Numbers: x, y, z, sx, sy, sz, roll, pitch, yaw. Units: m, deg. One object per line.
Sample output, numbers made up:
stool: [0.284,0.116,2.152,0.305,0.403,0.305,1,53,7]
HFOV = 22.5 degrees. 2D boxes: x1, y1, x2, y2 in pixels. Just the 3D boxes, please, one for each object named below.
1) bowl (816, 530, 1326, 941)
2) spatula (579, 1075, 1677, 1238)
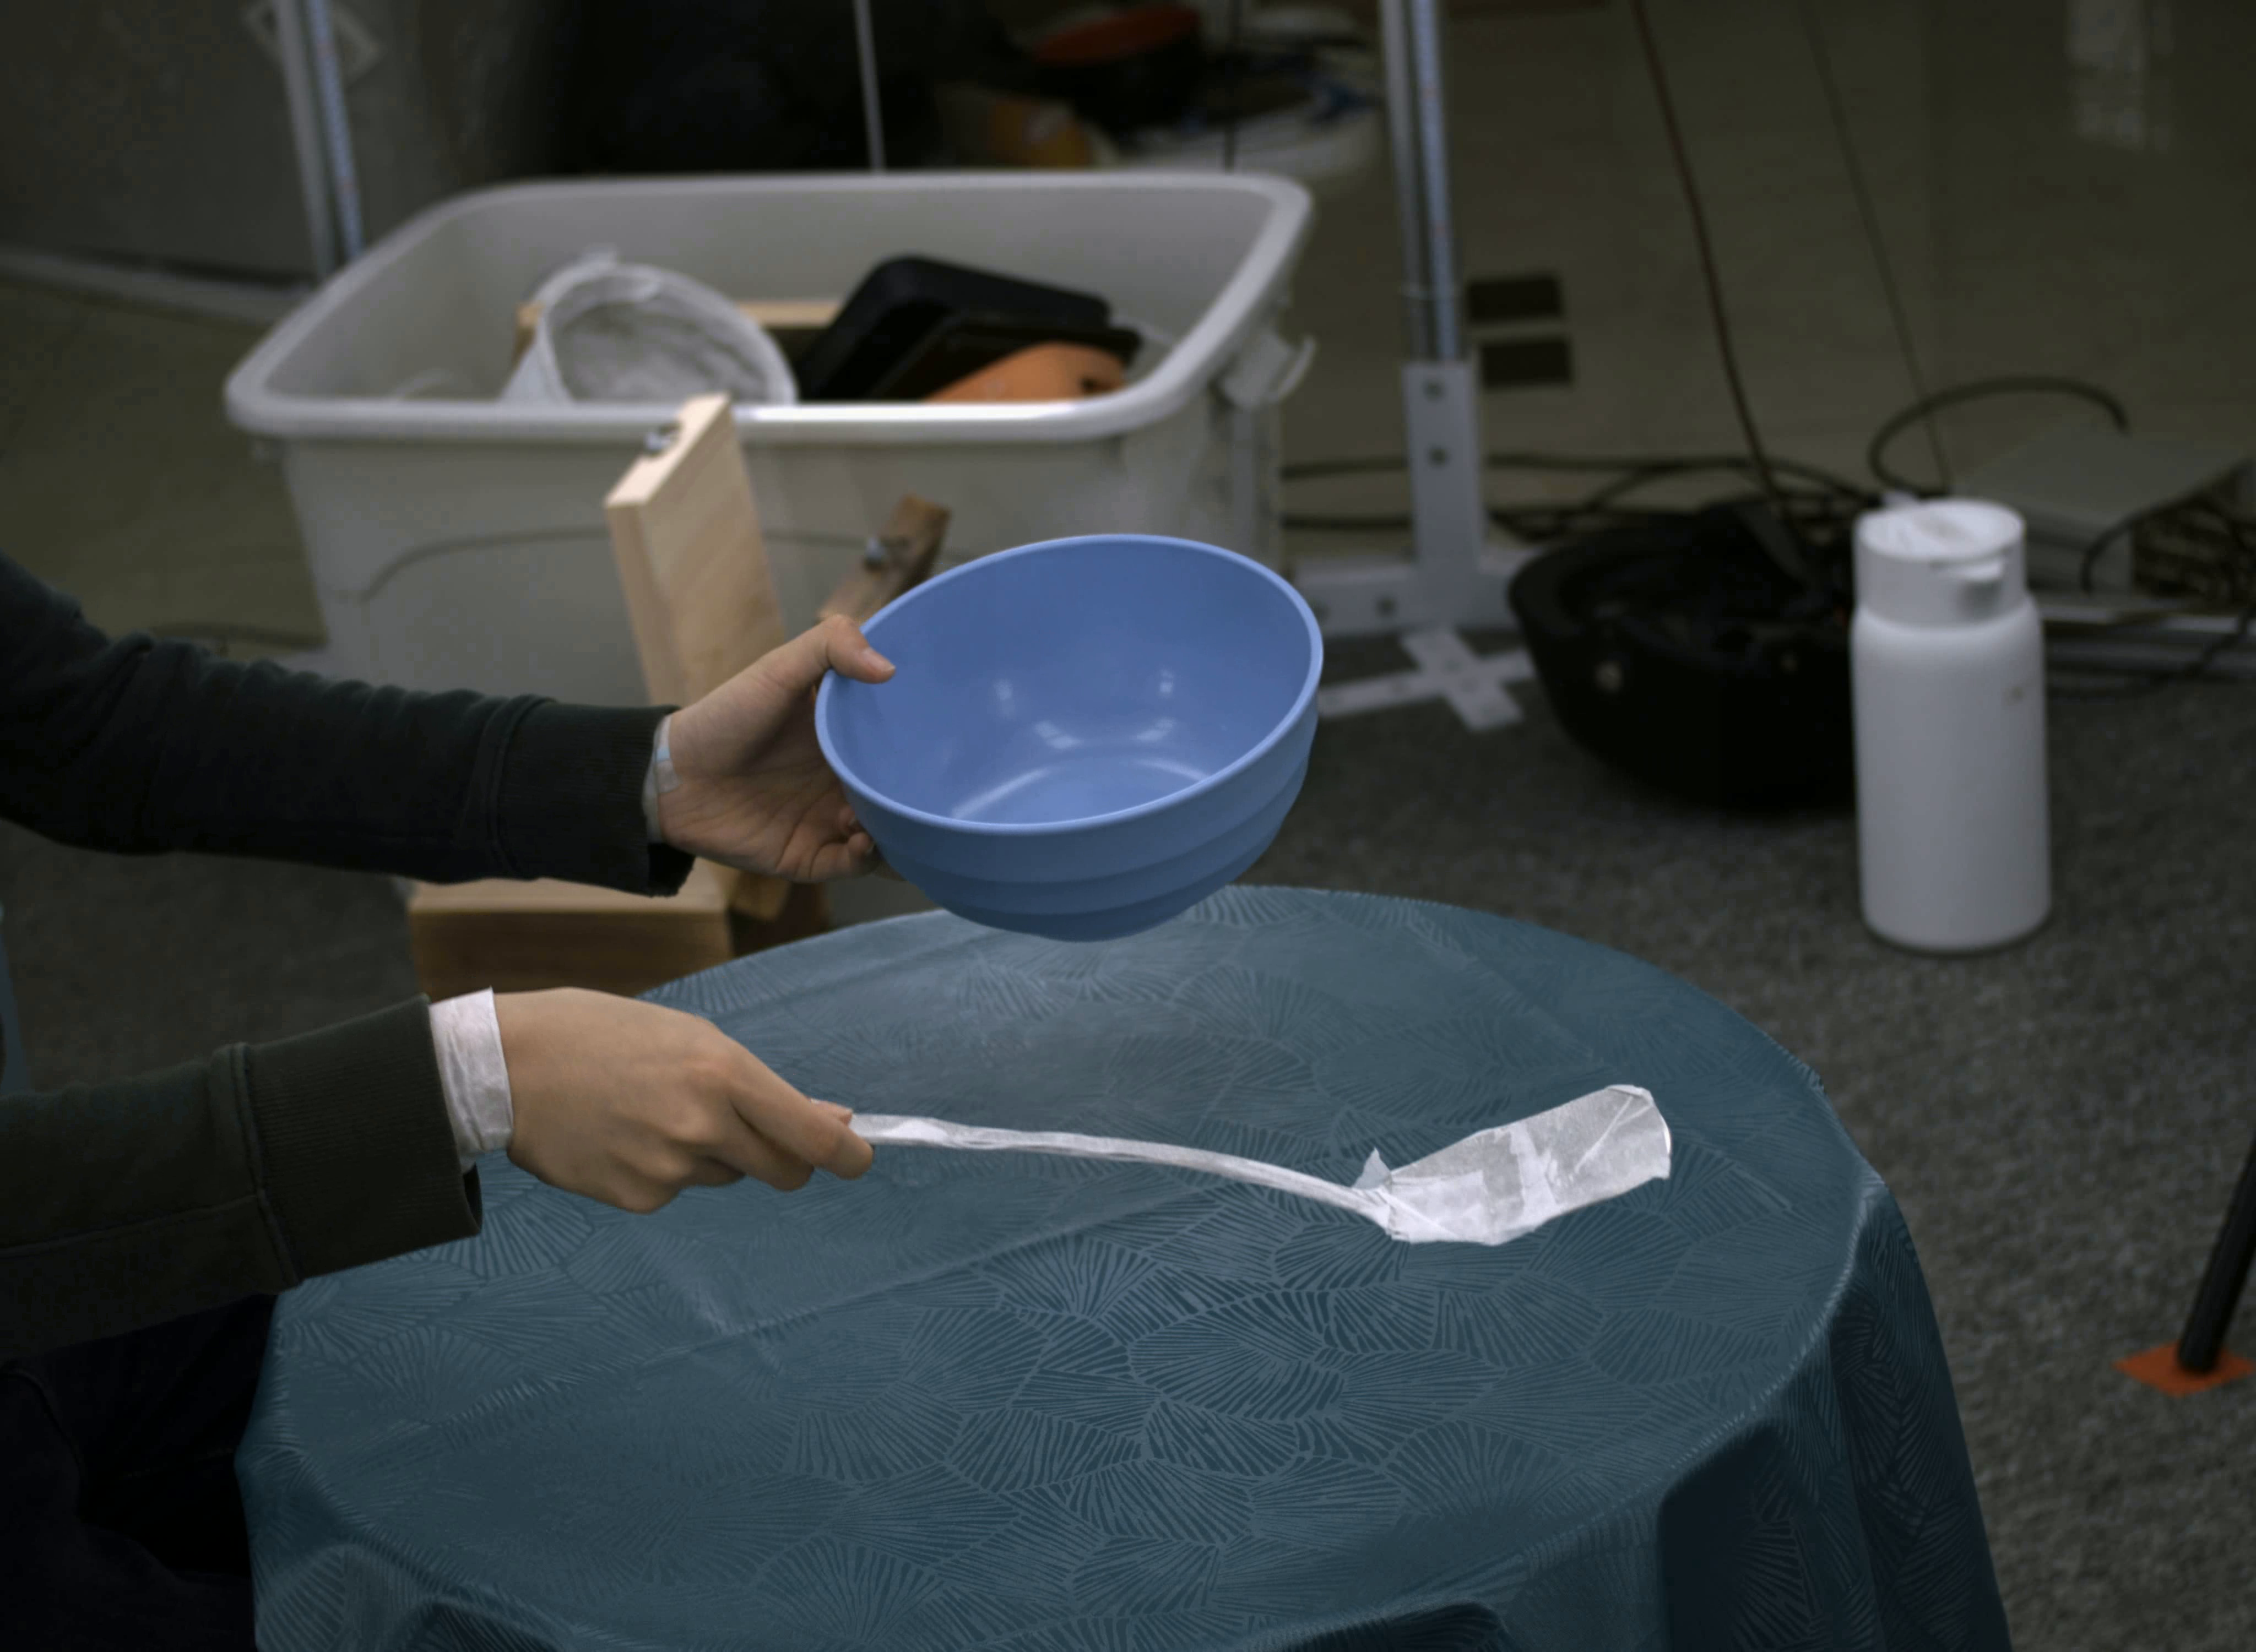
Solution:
bowl: [-0.017,-0.020,2.184,0.196,0.097,0.193,-5,38,4]
spatula: [-0.002,0.101,1.879,0.364,0.045,0.097,5,20,1]
